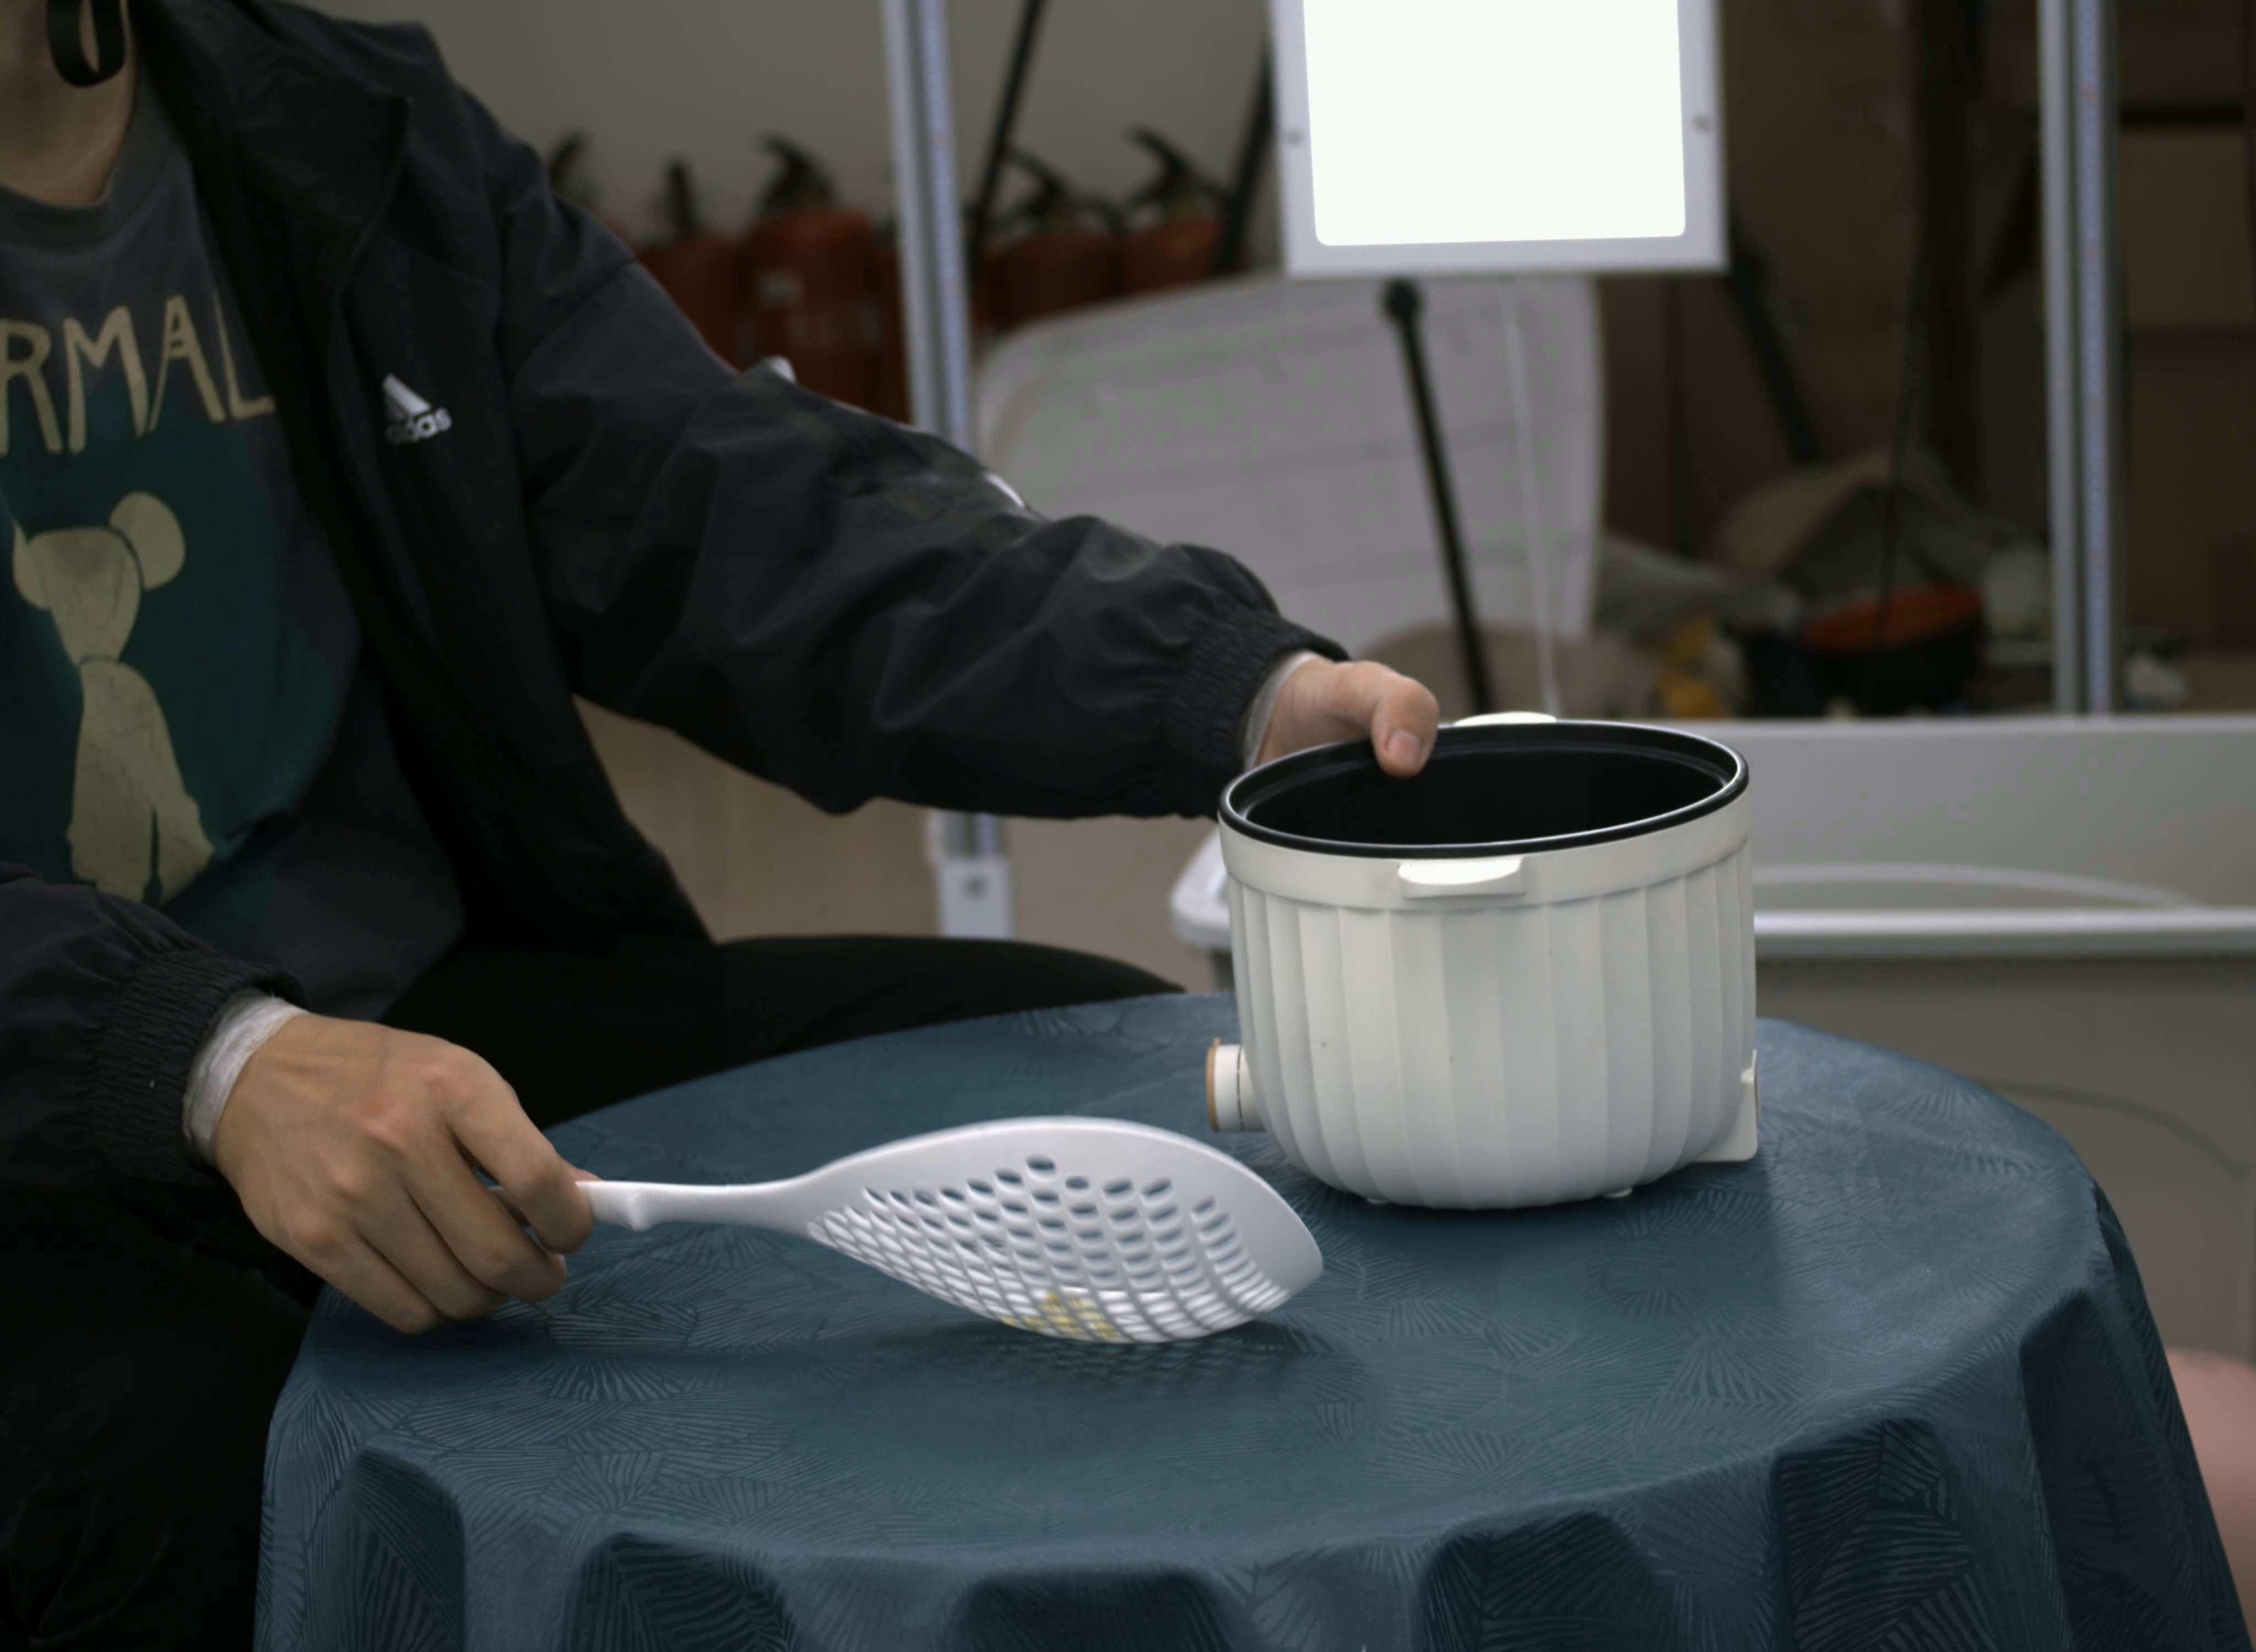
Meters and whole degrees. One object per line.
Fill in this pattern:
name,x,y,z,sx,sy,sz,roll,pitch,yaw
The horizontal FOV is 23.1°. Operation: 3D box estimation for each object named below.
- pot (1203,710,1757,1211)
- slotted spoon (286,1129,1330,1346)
pot,0.120,0.049,1.878,0.191,0.143,0.238,0,13,9
slotted spoon,-0.107,0.132,1.754,0.353,0.050,0.135,4,-23,24
